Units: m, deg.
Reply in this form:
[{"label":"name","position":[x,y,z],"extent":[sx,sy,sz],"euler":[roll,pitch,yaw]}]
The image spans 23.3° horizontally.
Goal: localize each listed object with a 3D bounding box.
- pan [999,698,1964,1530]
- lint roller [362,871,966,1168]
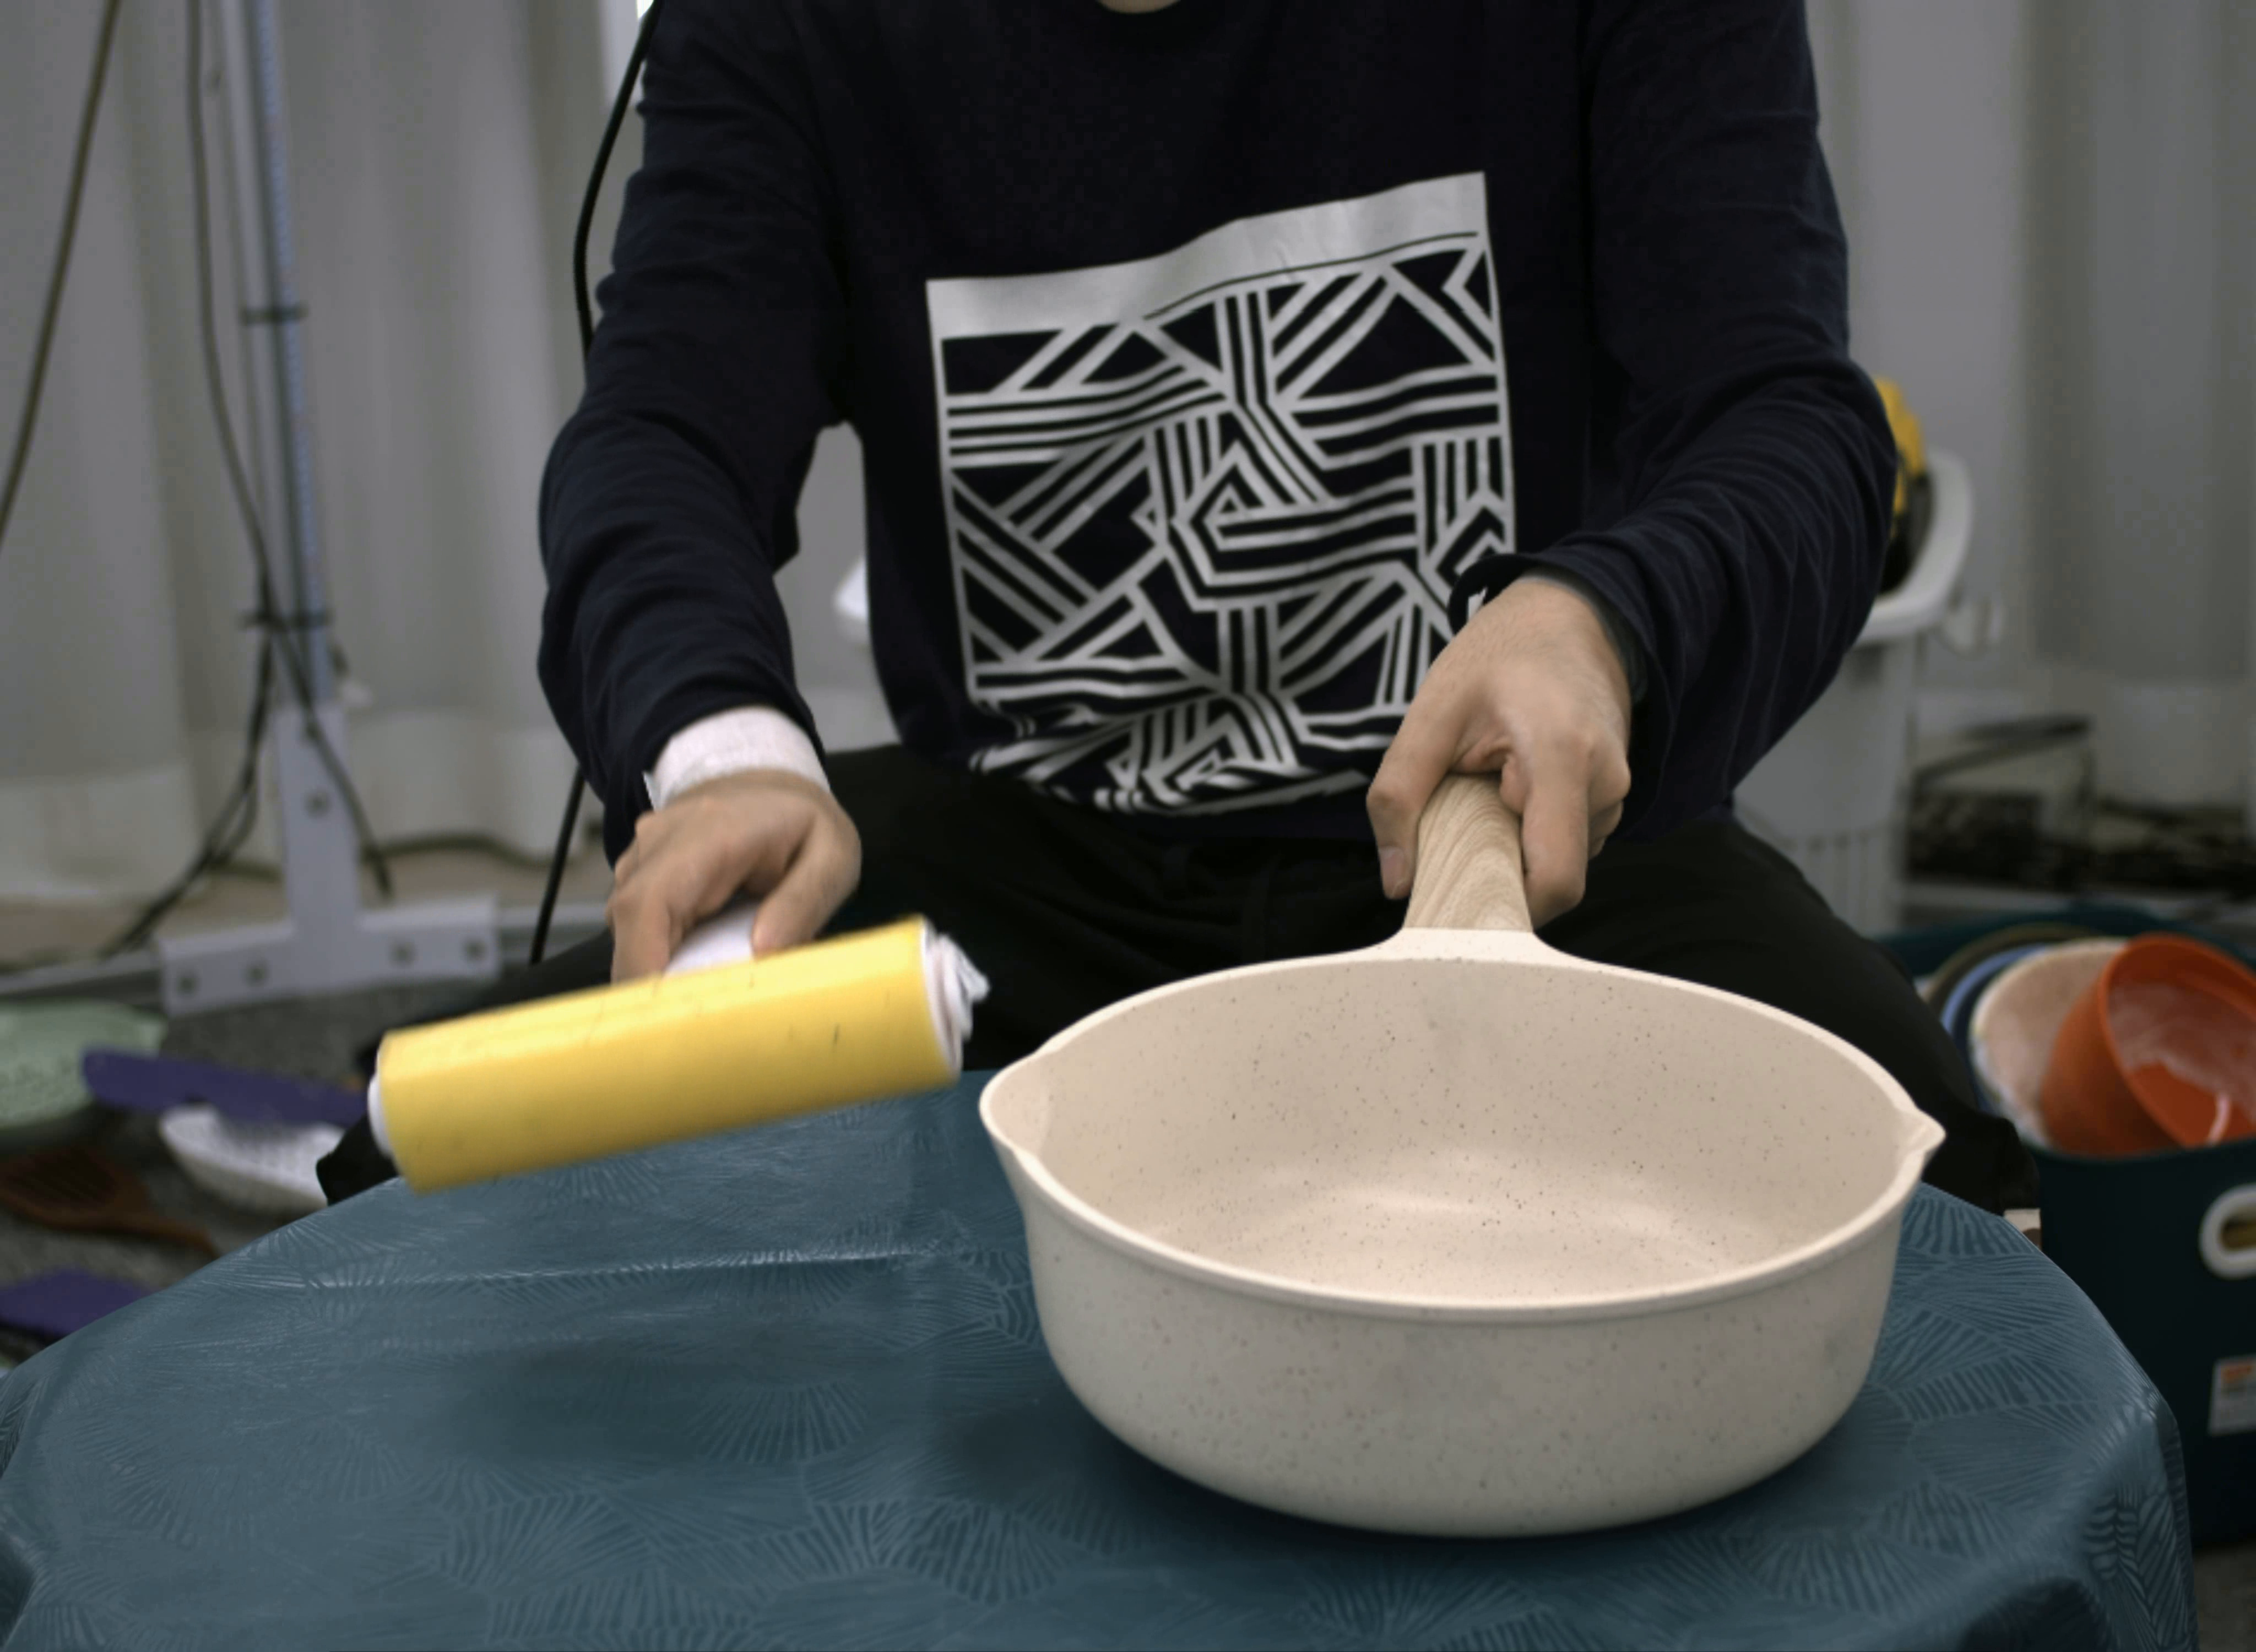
[{"label":"pan","position":[0.102,0.078,1.585],"extent":[0.262,0.101,0.438],"euler":[0,19,4]},{"label":"lint roller","position":[-0.132,0.035,1.629],"extent":[0.174,0.051,0.194],"euler":[-13,21,5]}]
